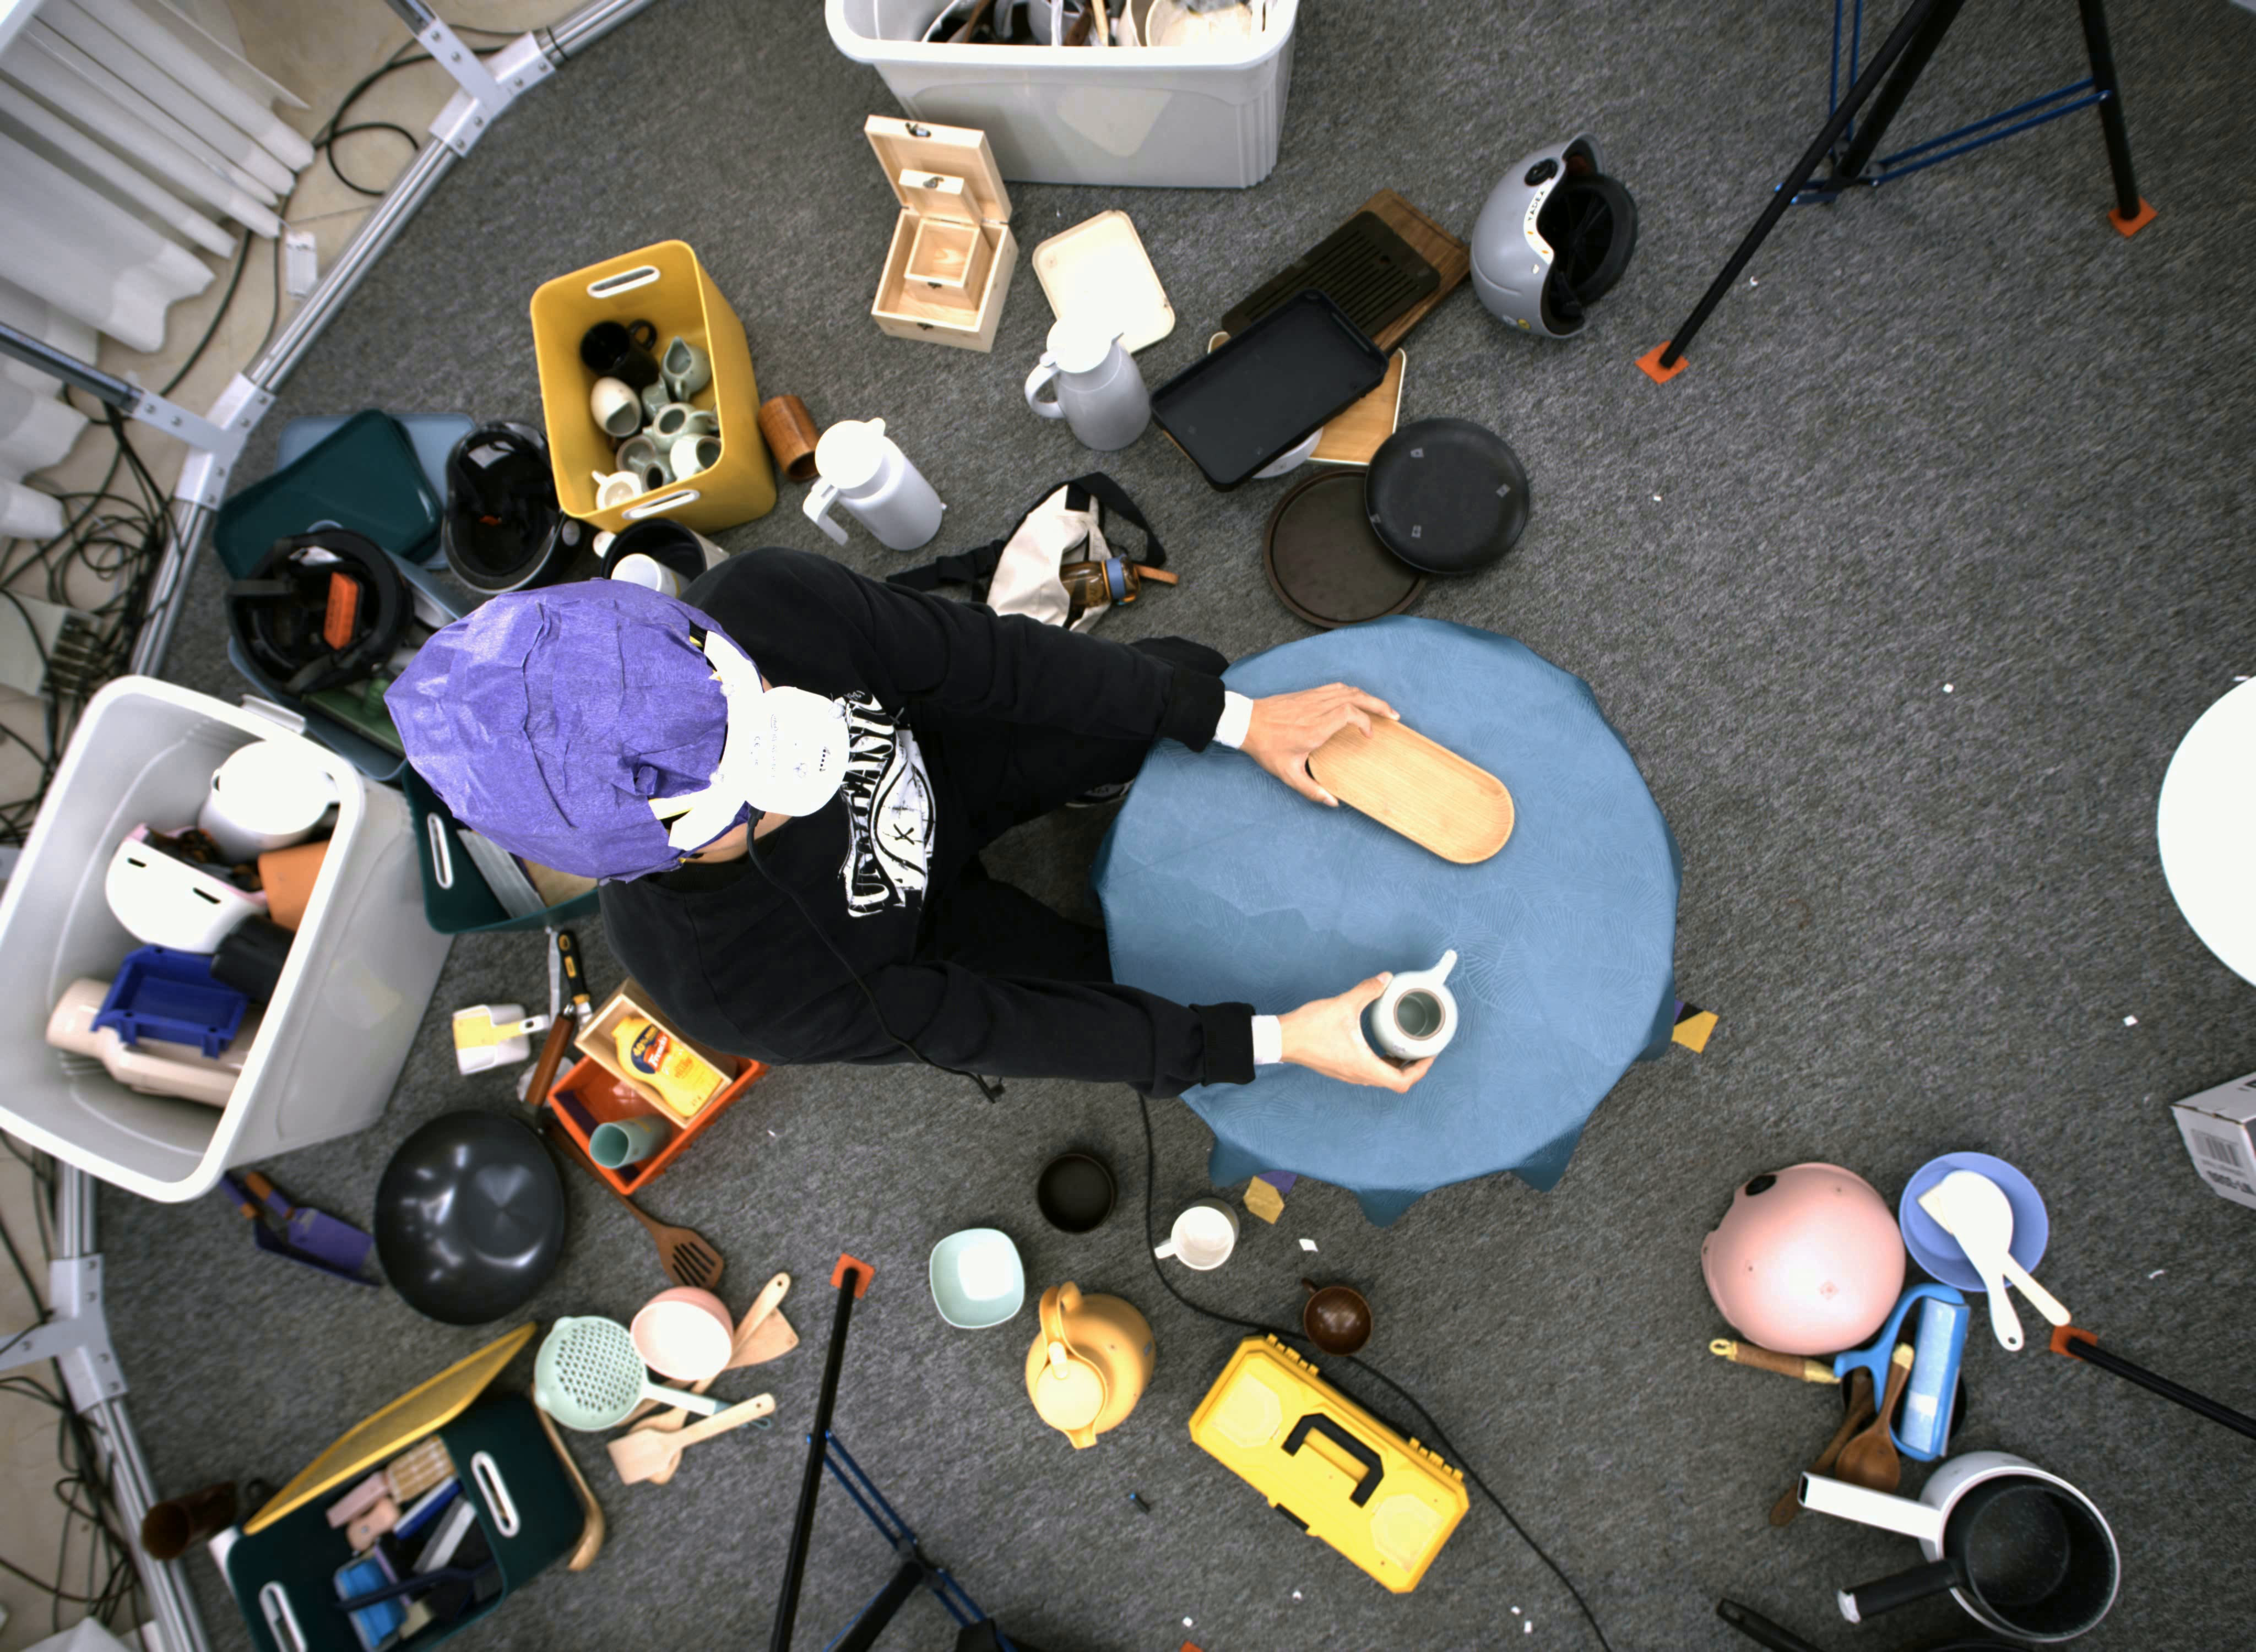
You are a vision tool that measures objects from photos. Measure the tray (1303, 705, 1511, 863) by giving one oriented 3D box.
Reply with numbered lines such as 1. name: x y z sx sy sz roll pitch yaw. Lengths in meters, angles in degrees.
1. tray: 0.292 -0.046 1.444 0.231 0.020 0.102 29 91 7

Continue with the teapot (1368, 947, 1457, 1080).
1. teapot: 0.284 0.186 1.376 0.088 0.075 0.142 31 80 4
